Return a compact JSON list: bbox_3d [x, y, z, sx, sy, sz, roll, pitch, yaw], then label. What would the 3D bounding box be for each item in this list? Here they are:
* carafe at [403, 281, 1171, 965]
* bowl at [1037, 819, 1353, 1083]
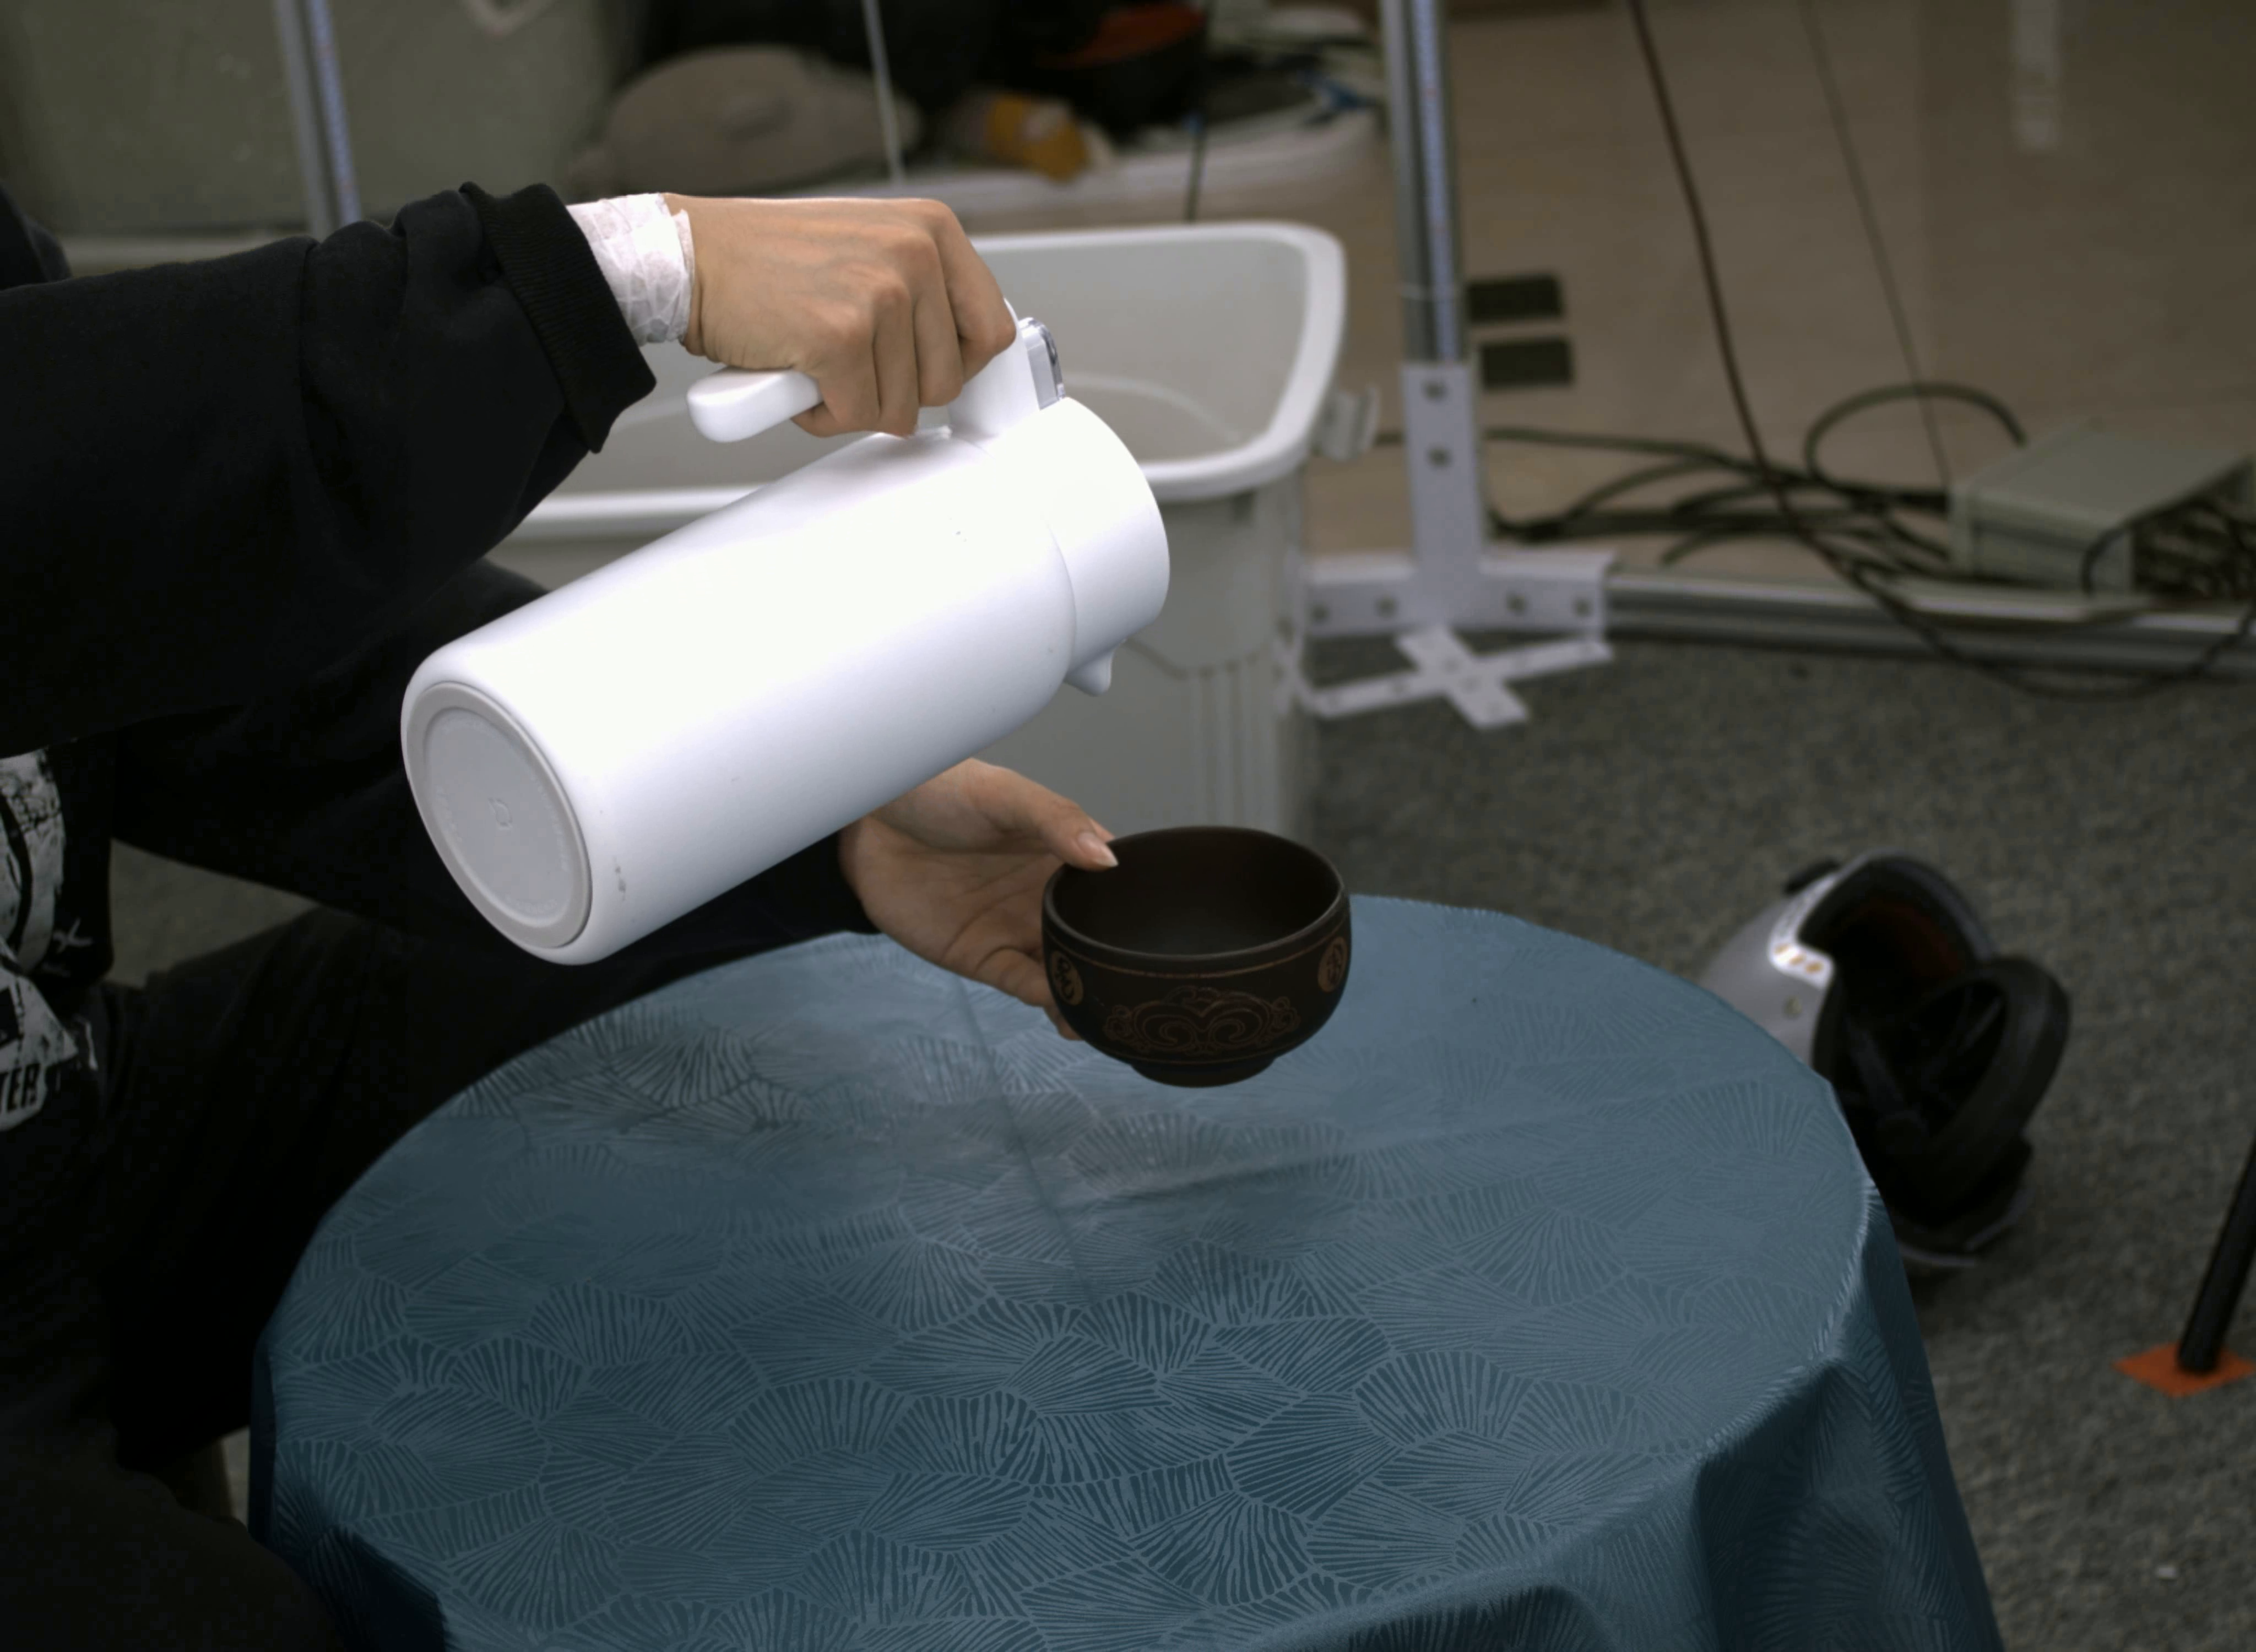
[{"bbox_3d":[-0.116,-0.073,1.947,0.266,0.175,0.123,-29,31,-31],"label":"carafe"},{"bbox_3d":[0.026,0.053,2.112,0.118,0.071,0.116,-3,26,2],"label":"bowl"}]
